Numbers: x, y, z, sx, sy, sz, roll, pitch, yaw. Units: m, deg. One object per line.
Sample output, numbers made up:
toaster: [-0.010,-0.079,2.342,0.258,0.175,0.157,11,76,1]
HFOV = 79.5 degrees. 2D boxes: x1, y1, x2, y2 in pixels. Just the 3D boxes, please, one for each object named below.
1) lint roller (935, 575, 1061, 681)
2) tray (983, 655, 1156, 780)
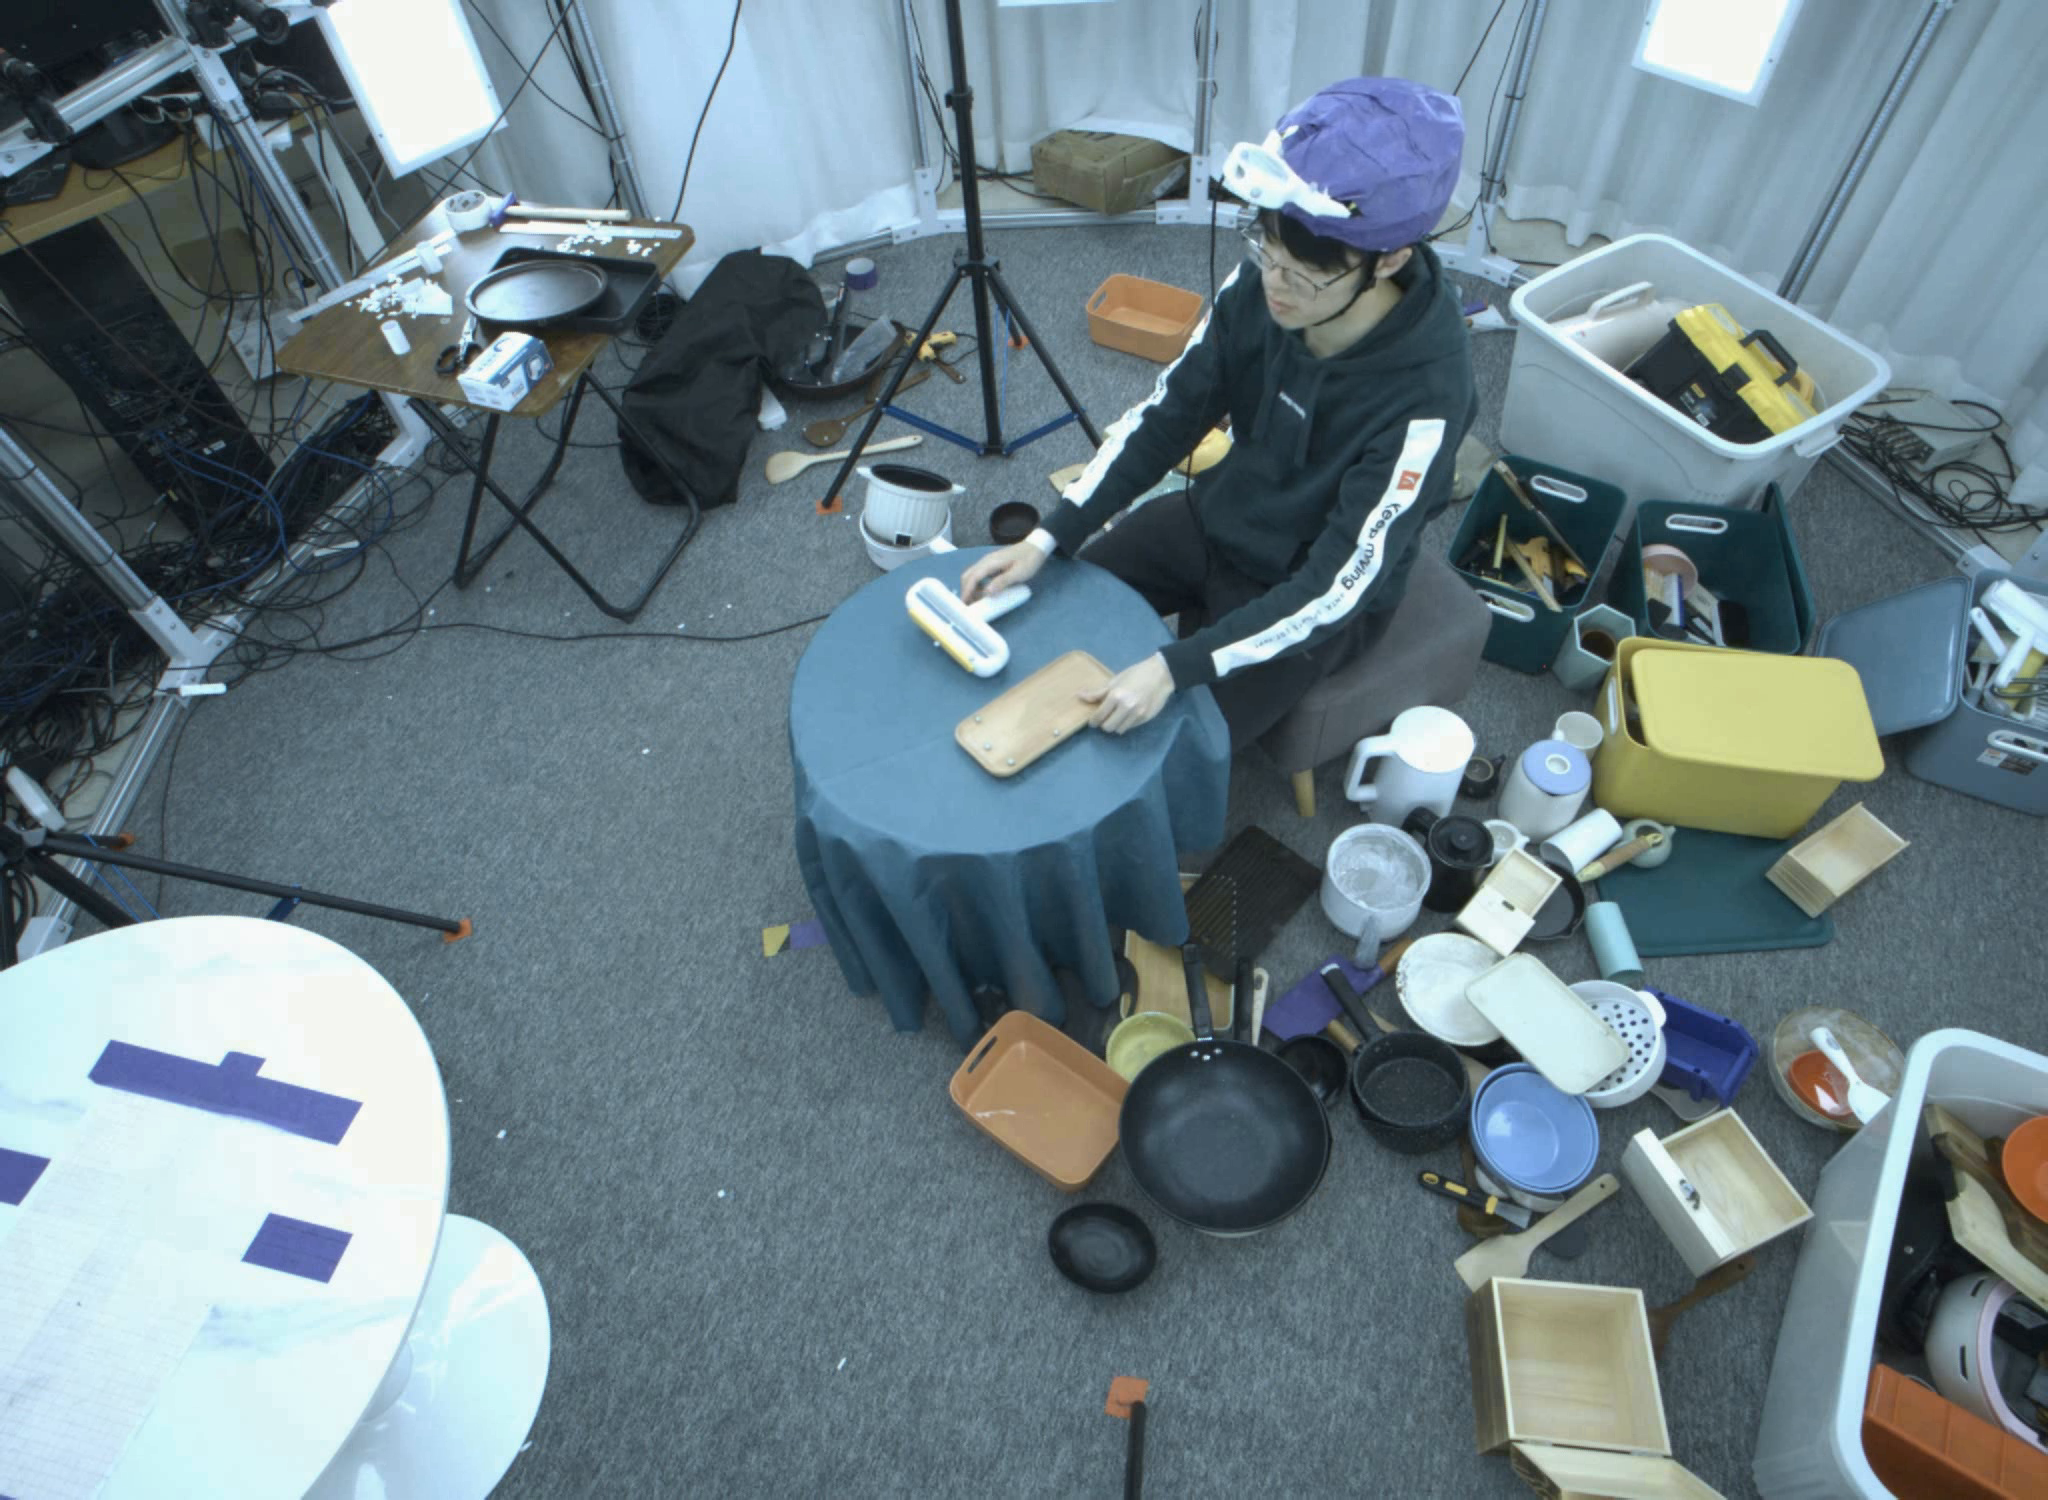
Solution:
lint roller: [-0.018,-0.202,1.908,0.195,0.074,0.190,-26,64,-33]
tray: [0.067,-0.049,1.800,0.253,0.023,0.128,-31,57,-19]
